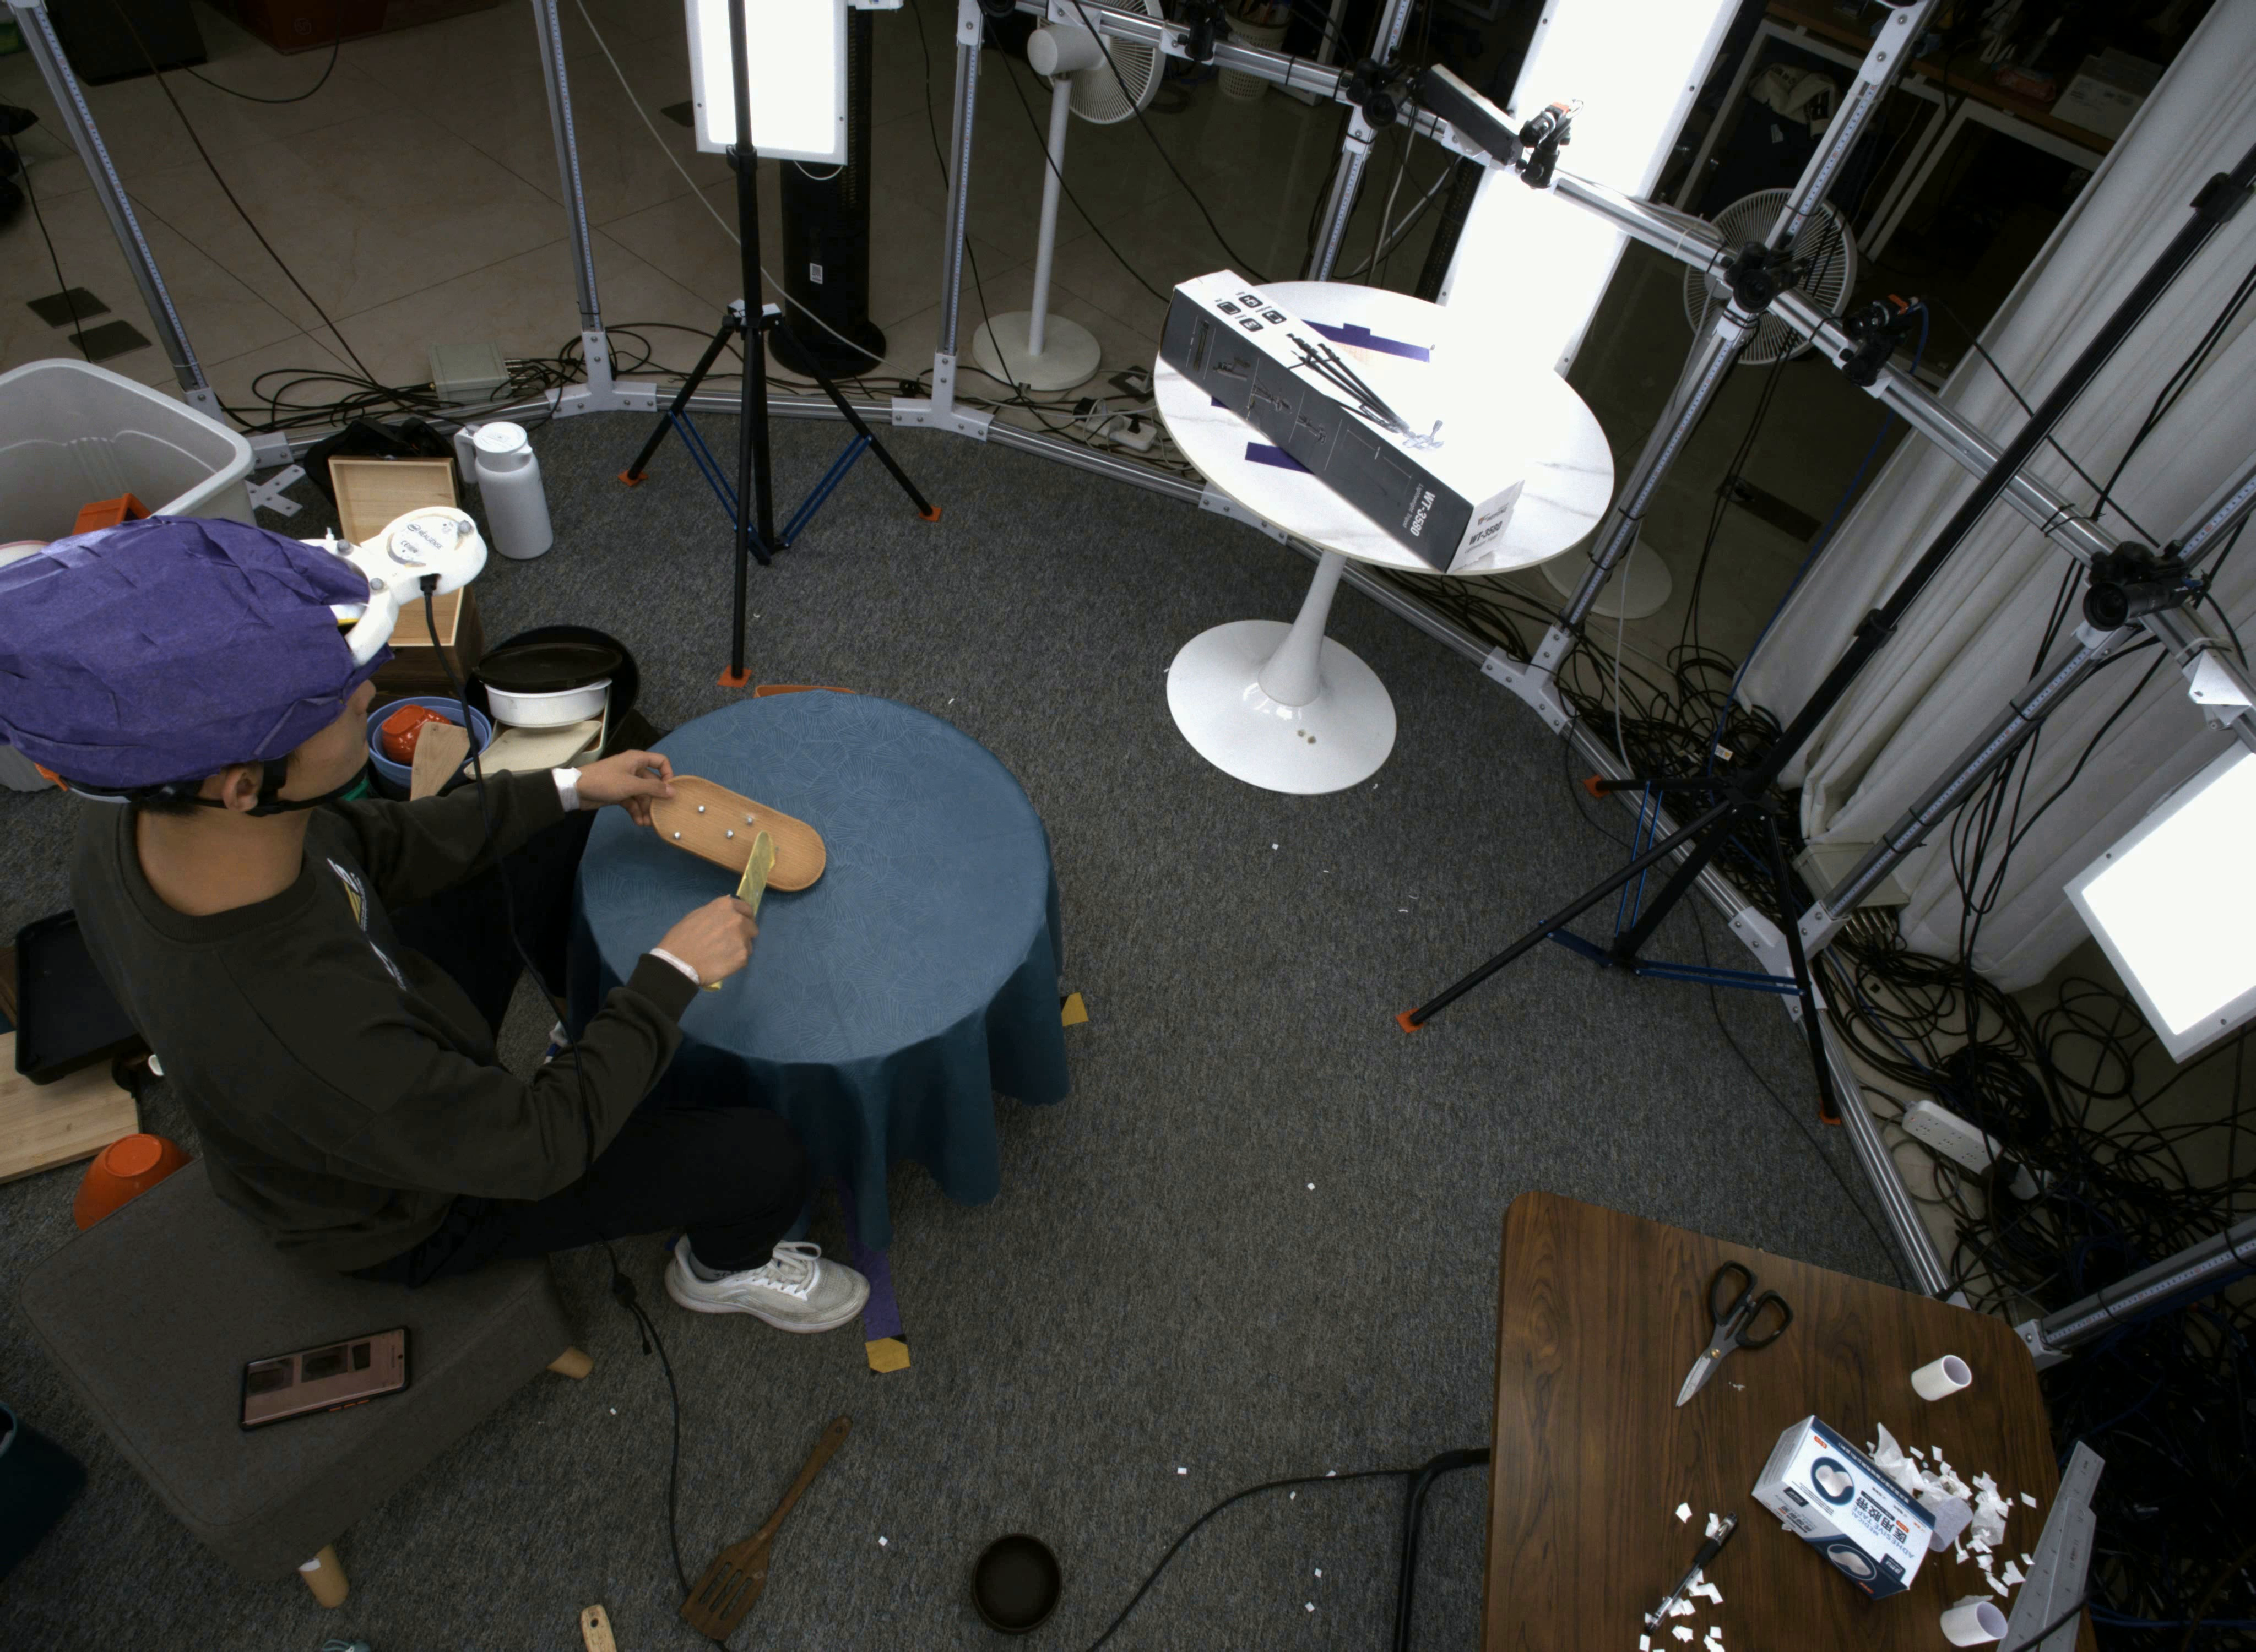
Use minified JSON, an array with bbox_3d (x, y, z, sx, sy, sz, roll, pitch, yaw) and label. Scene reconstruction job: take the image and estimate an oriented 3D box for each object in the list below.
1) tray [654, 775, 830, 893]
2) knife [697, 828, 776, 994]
[{"bbox_3d":[-0.492,0.010,1.650,0.235,0.020,0.101,26,59,-23],"label":"tray"},{"bbox_3d":[-0.460,0.100,1.543,0.027,0.084,0.284,1,38,4],"label":"knife"}]
